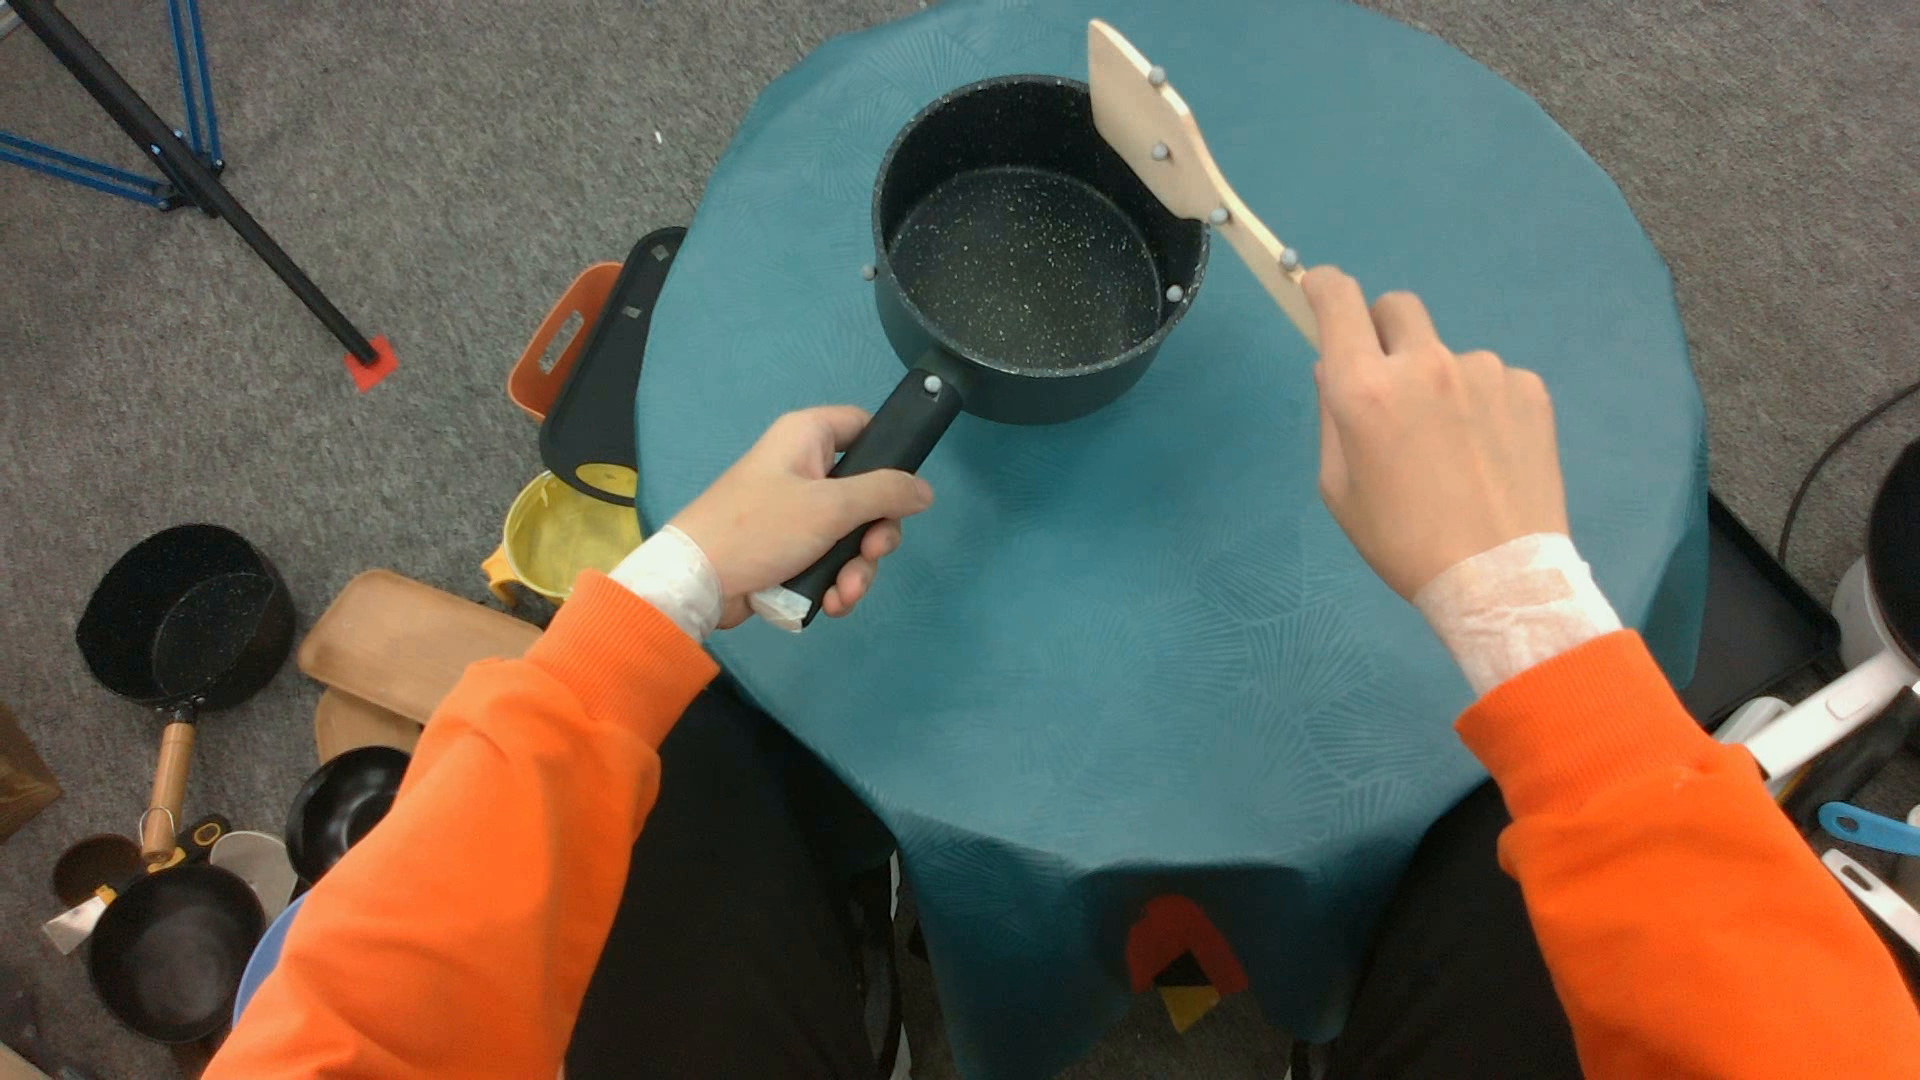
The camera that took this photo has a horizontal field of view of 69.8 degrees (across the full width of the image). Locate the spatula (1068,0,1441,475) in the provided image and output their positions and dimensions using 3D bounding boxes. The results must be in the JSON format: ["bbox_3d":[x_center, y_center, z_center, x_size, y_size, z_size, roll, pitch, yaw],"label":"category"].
[{"bbox_3d":[0.125,-0.141,0.622,0.010,0.072,0.293,-25,60,-11],"label":"spatula"}]

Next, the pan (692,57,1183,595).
[{"bbox_3d":[-0.019,-0.097,0.690,0.172,0.086,0.330,33,69,6],"label":"pan"}]
